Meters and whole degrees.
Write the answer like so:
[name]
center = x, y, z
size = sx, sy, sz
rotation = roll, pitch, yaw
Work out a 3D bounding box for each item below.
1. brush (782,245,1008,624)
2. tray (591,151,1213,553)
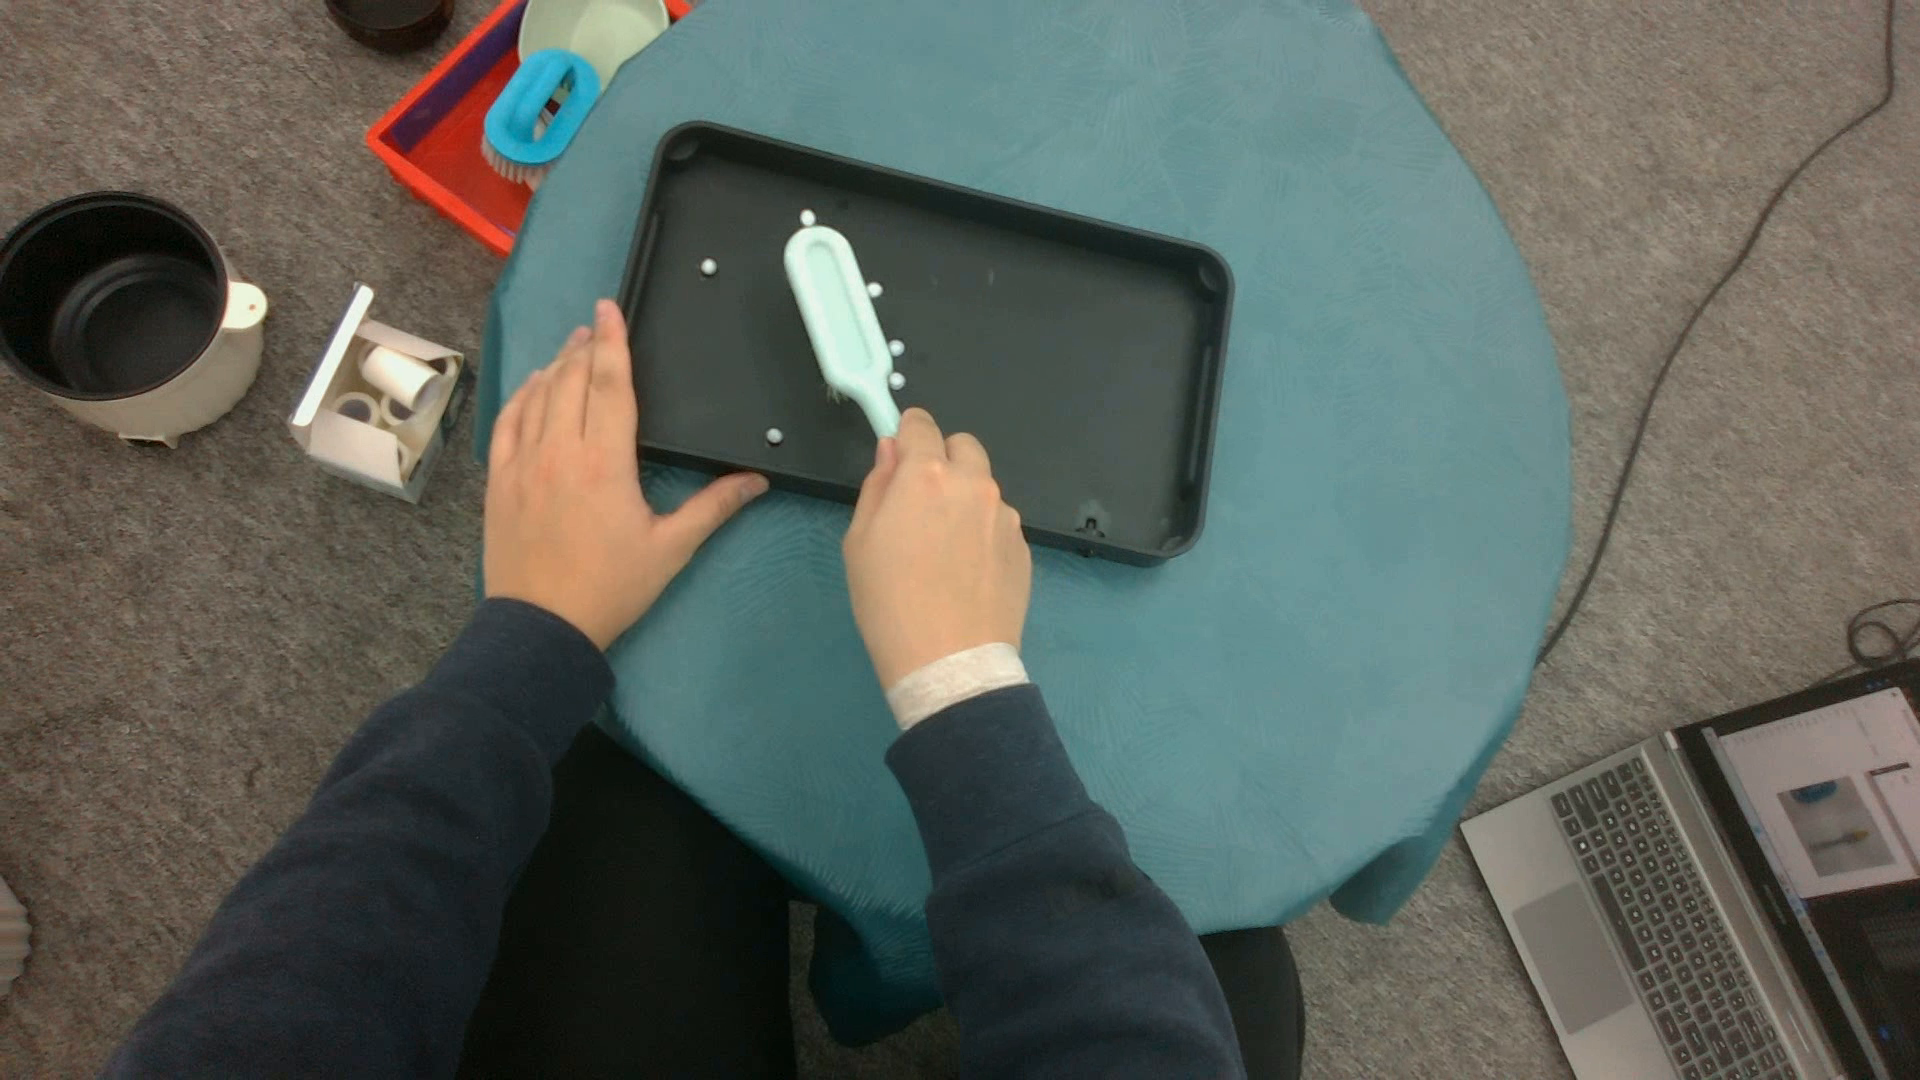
[brush]
center = -0.034, -0.053, 0.693
size = 0.038, 0.049, 0.229
rotation = -21, 64, -18
[tray]
center = -0.025, -0.099, 0.745
size = 0.318, 0.037, 0.185
rotation = 8, 74, -6
